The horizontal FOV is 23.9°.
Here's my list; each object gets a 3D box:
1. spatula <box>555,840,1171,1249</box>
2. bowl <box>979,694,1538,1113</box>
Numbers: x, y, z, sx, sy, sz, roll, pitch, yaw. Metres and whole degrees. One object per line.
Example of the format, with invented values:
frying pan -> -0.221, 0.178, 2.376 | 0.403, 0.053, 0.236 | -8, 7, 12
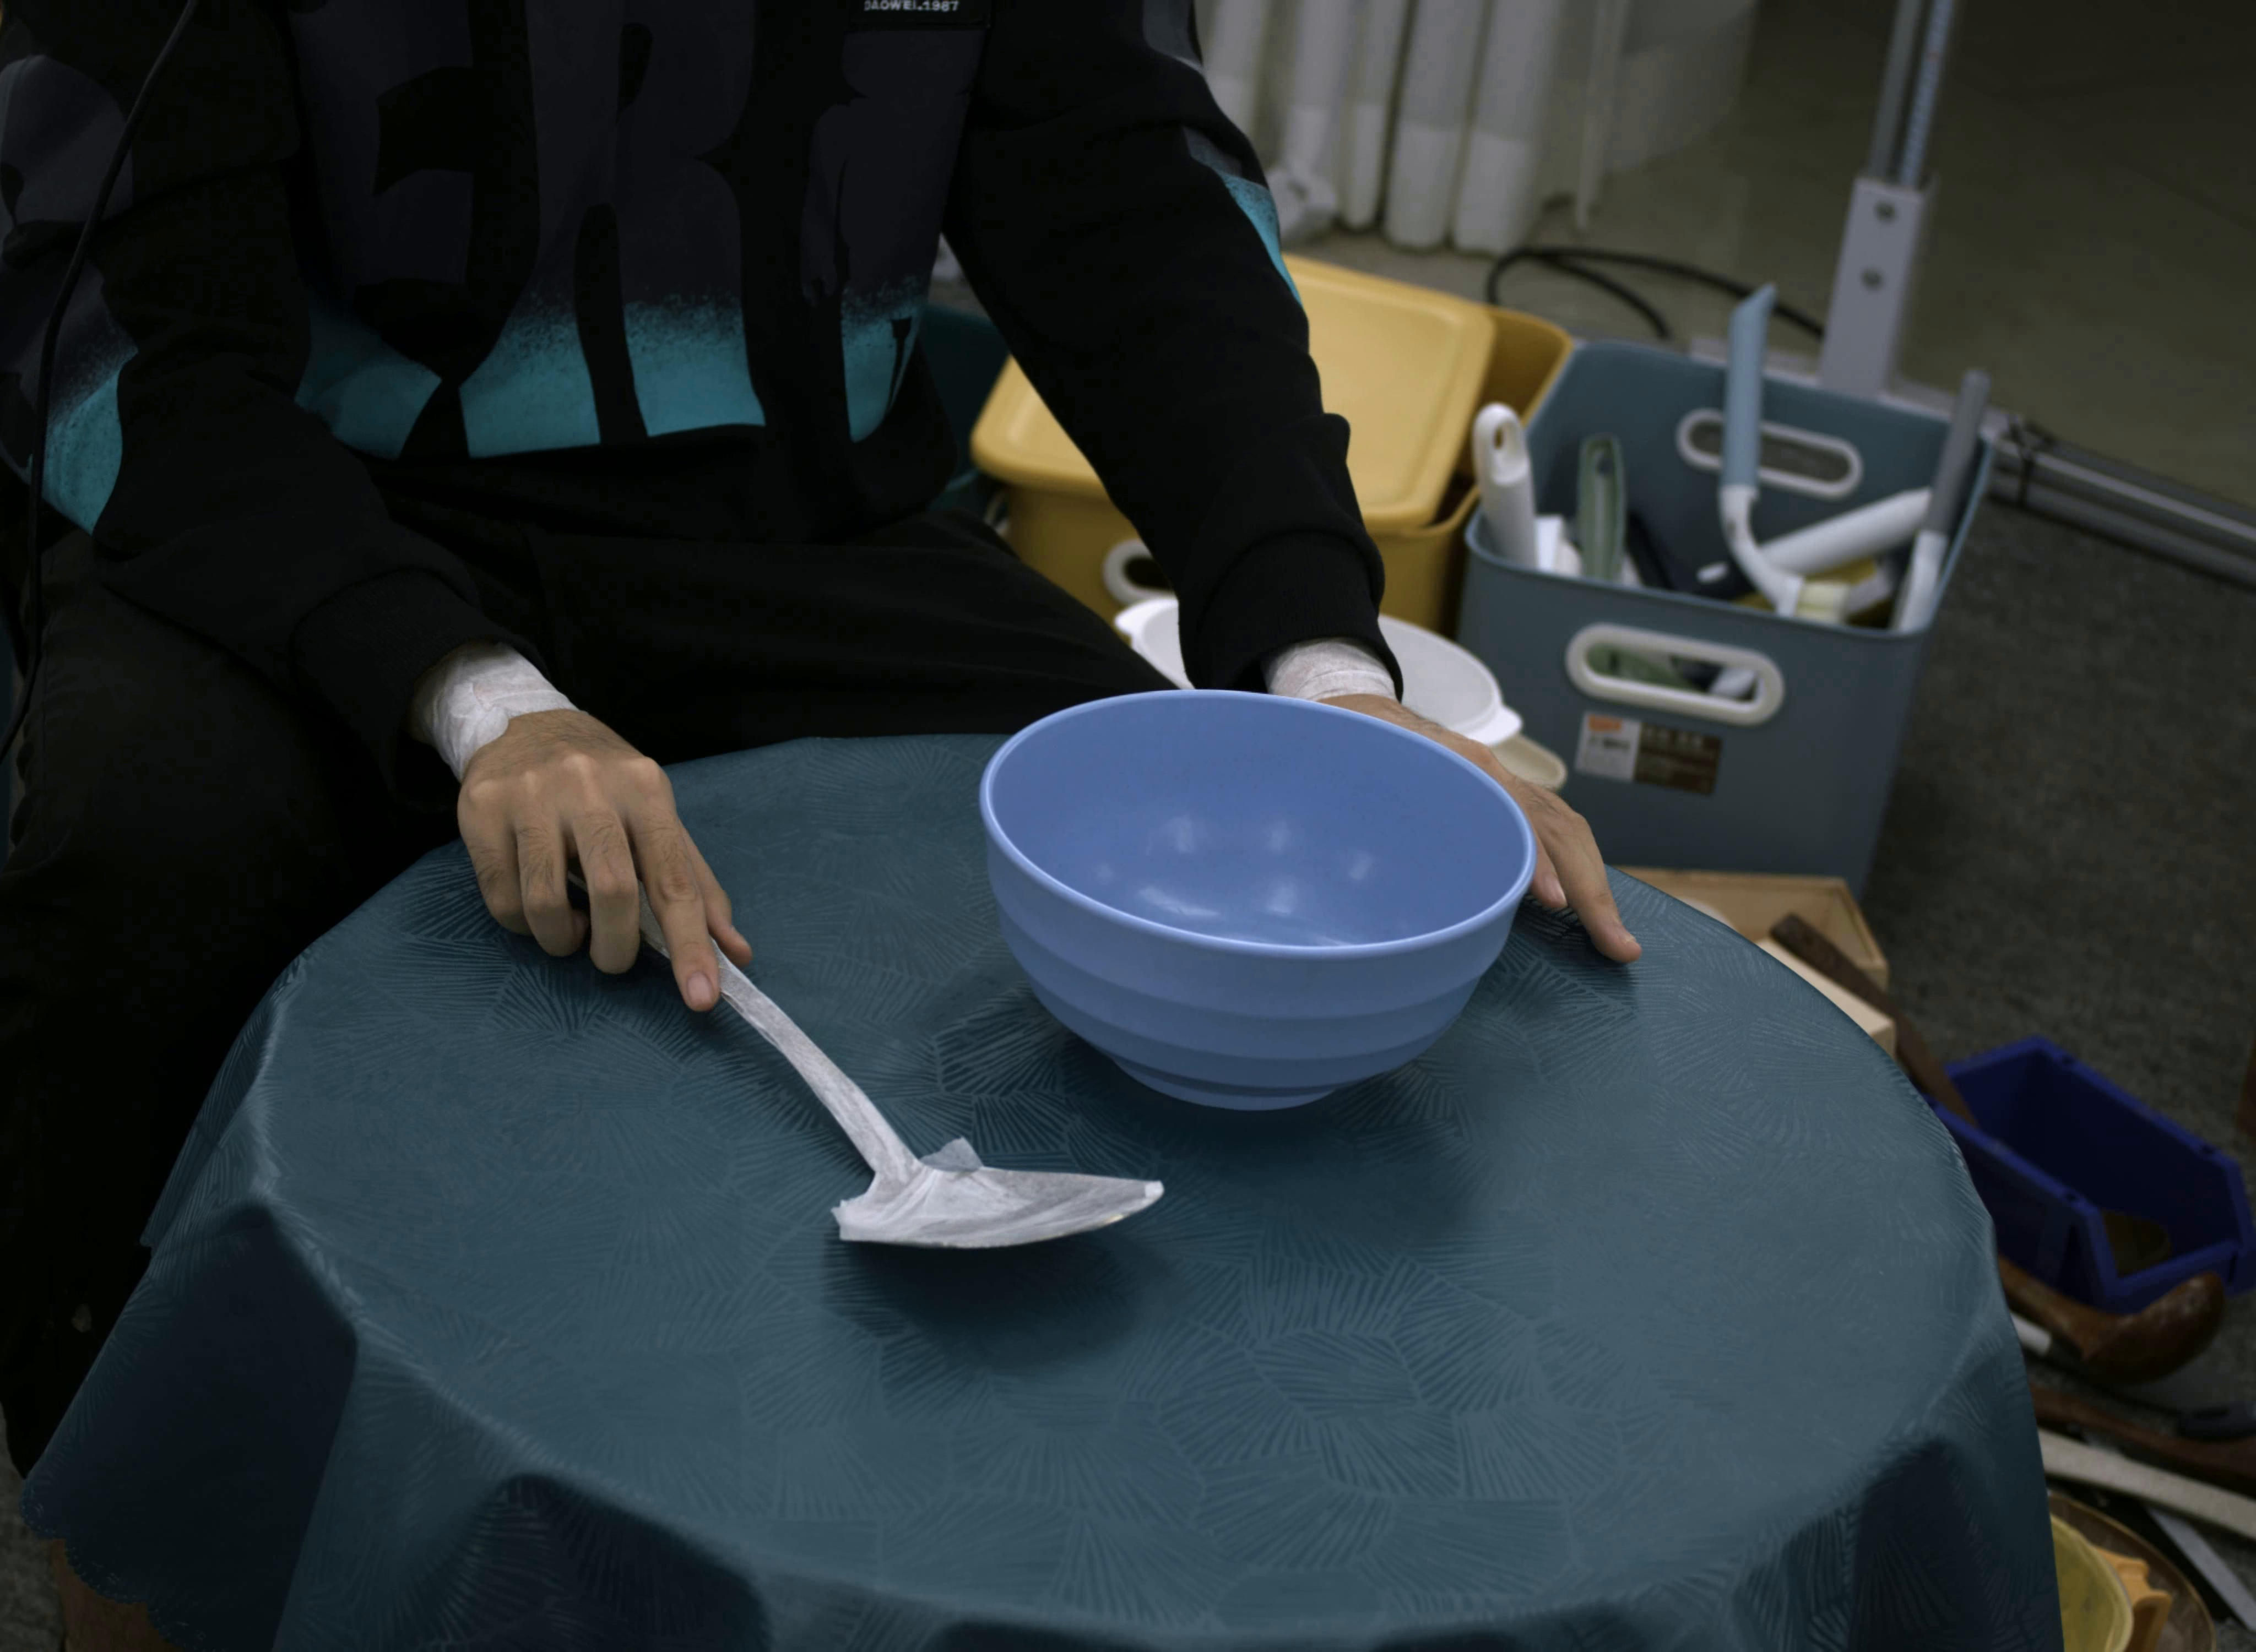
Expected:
spatula -> -0.116, 0.068, 1.842 | 0.098, 0.044, 0.368 | -12, 32, -30
bowl -> 0.041, 0.038, 1.876 | 0.196, 0.095, 0.198 | 4, 27, -3
